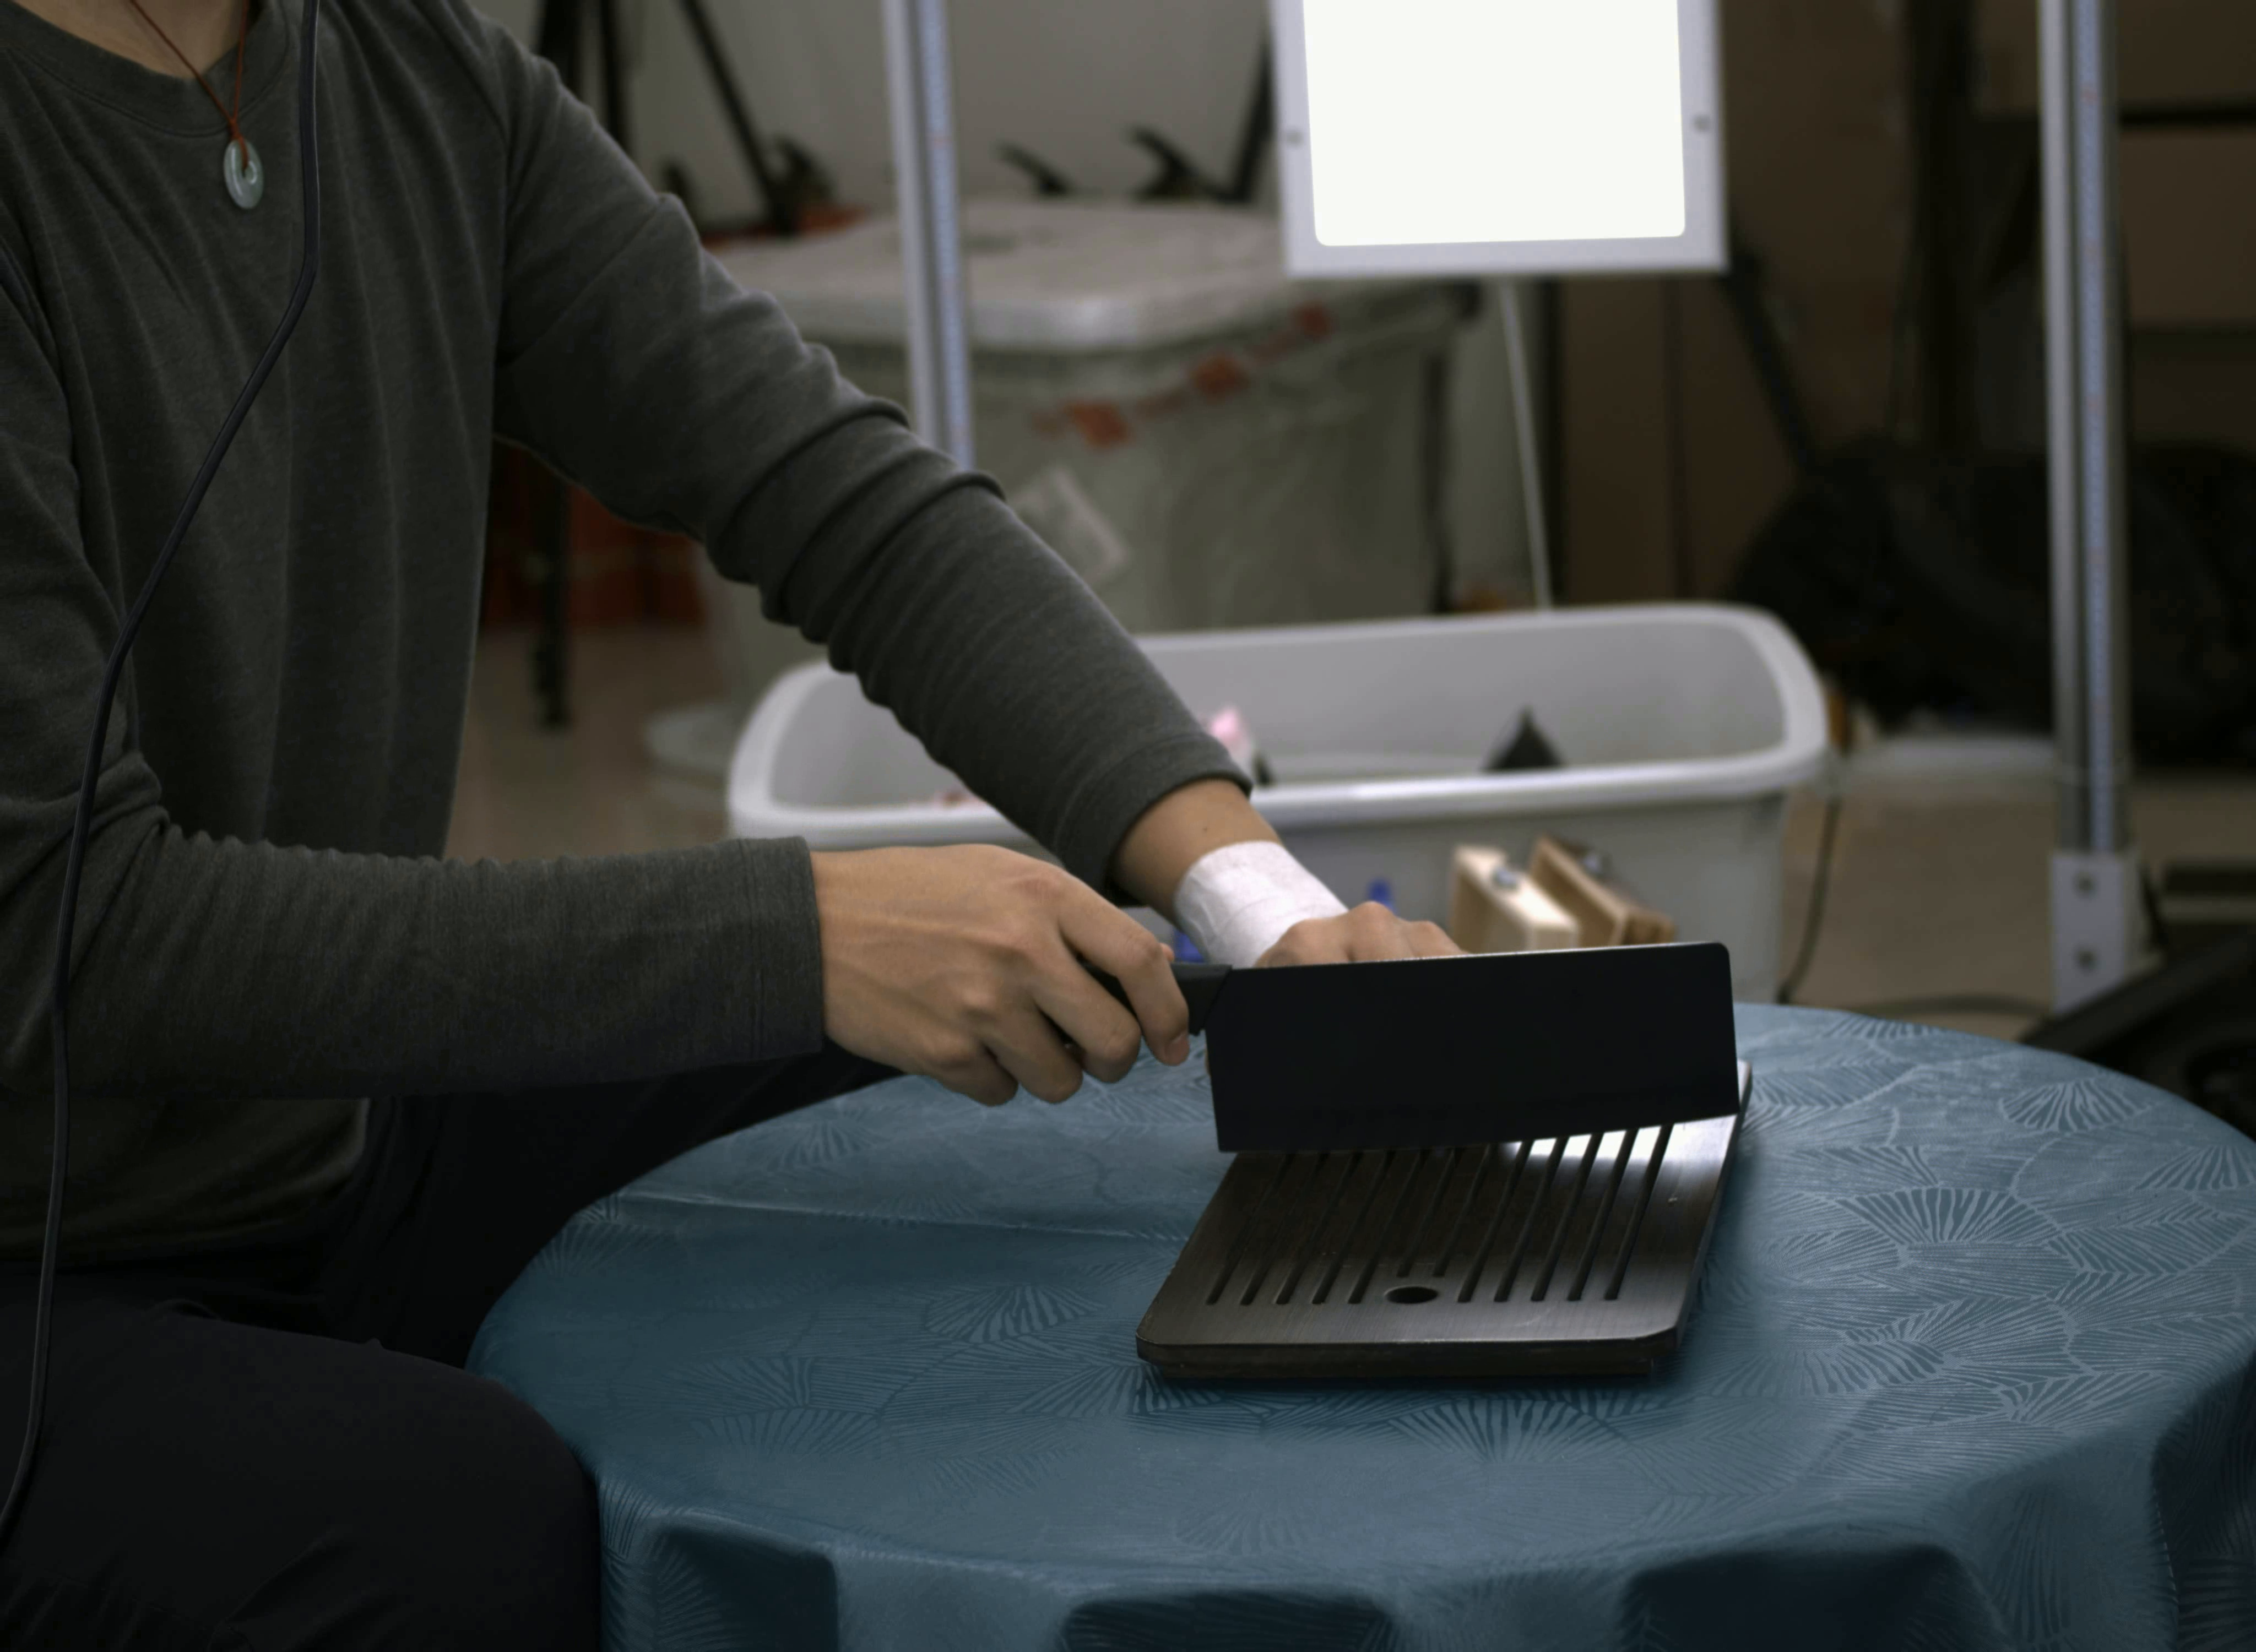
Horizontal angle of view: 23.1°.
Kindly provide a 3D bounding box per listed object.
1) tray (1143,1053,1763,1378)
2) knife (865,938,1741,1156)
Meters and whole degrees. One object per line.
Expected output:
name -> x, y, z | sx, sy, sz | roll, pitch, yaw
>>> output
tray -> 0.115, 0.127, 1.819 | 0.171, 0.019, 0.302 | -3, 13, 13
knife -> 0.058, 0.074, 1.867 | 0.305, 0.081, 0.020 | 1, 12, 14
